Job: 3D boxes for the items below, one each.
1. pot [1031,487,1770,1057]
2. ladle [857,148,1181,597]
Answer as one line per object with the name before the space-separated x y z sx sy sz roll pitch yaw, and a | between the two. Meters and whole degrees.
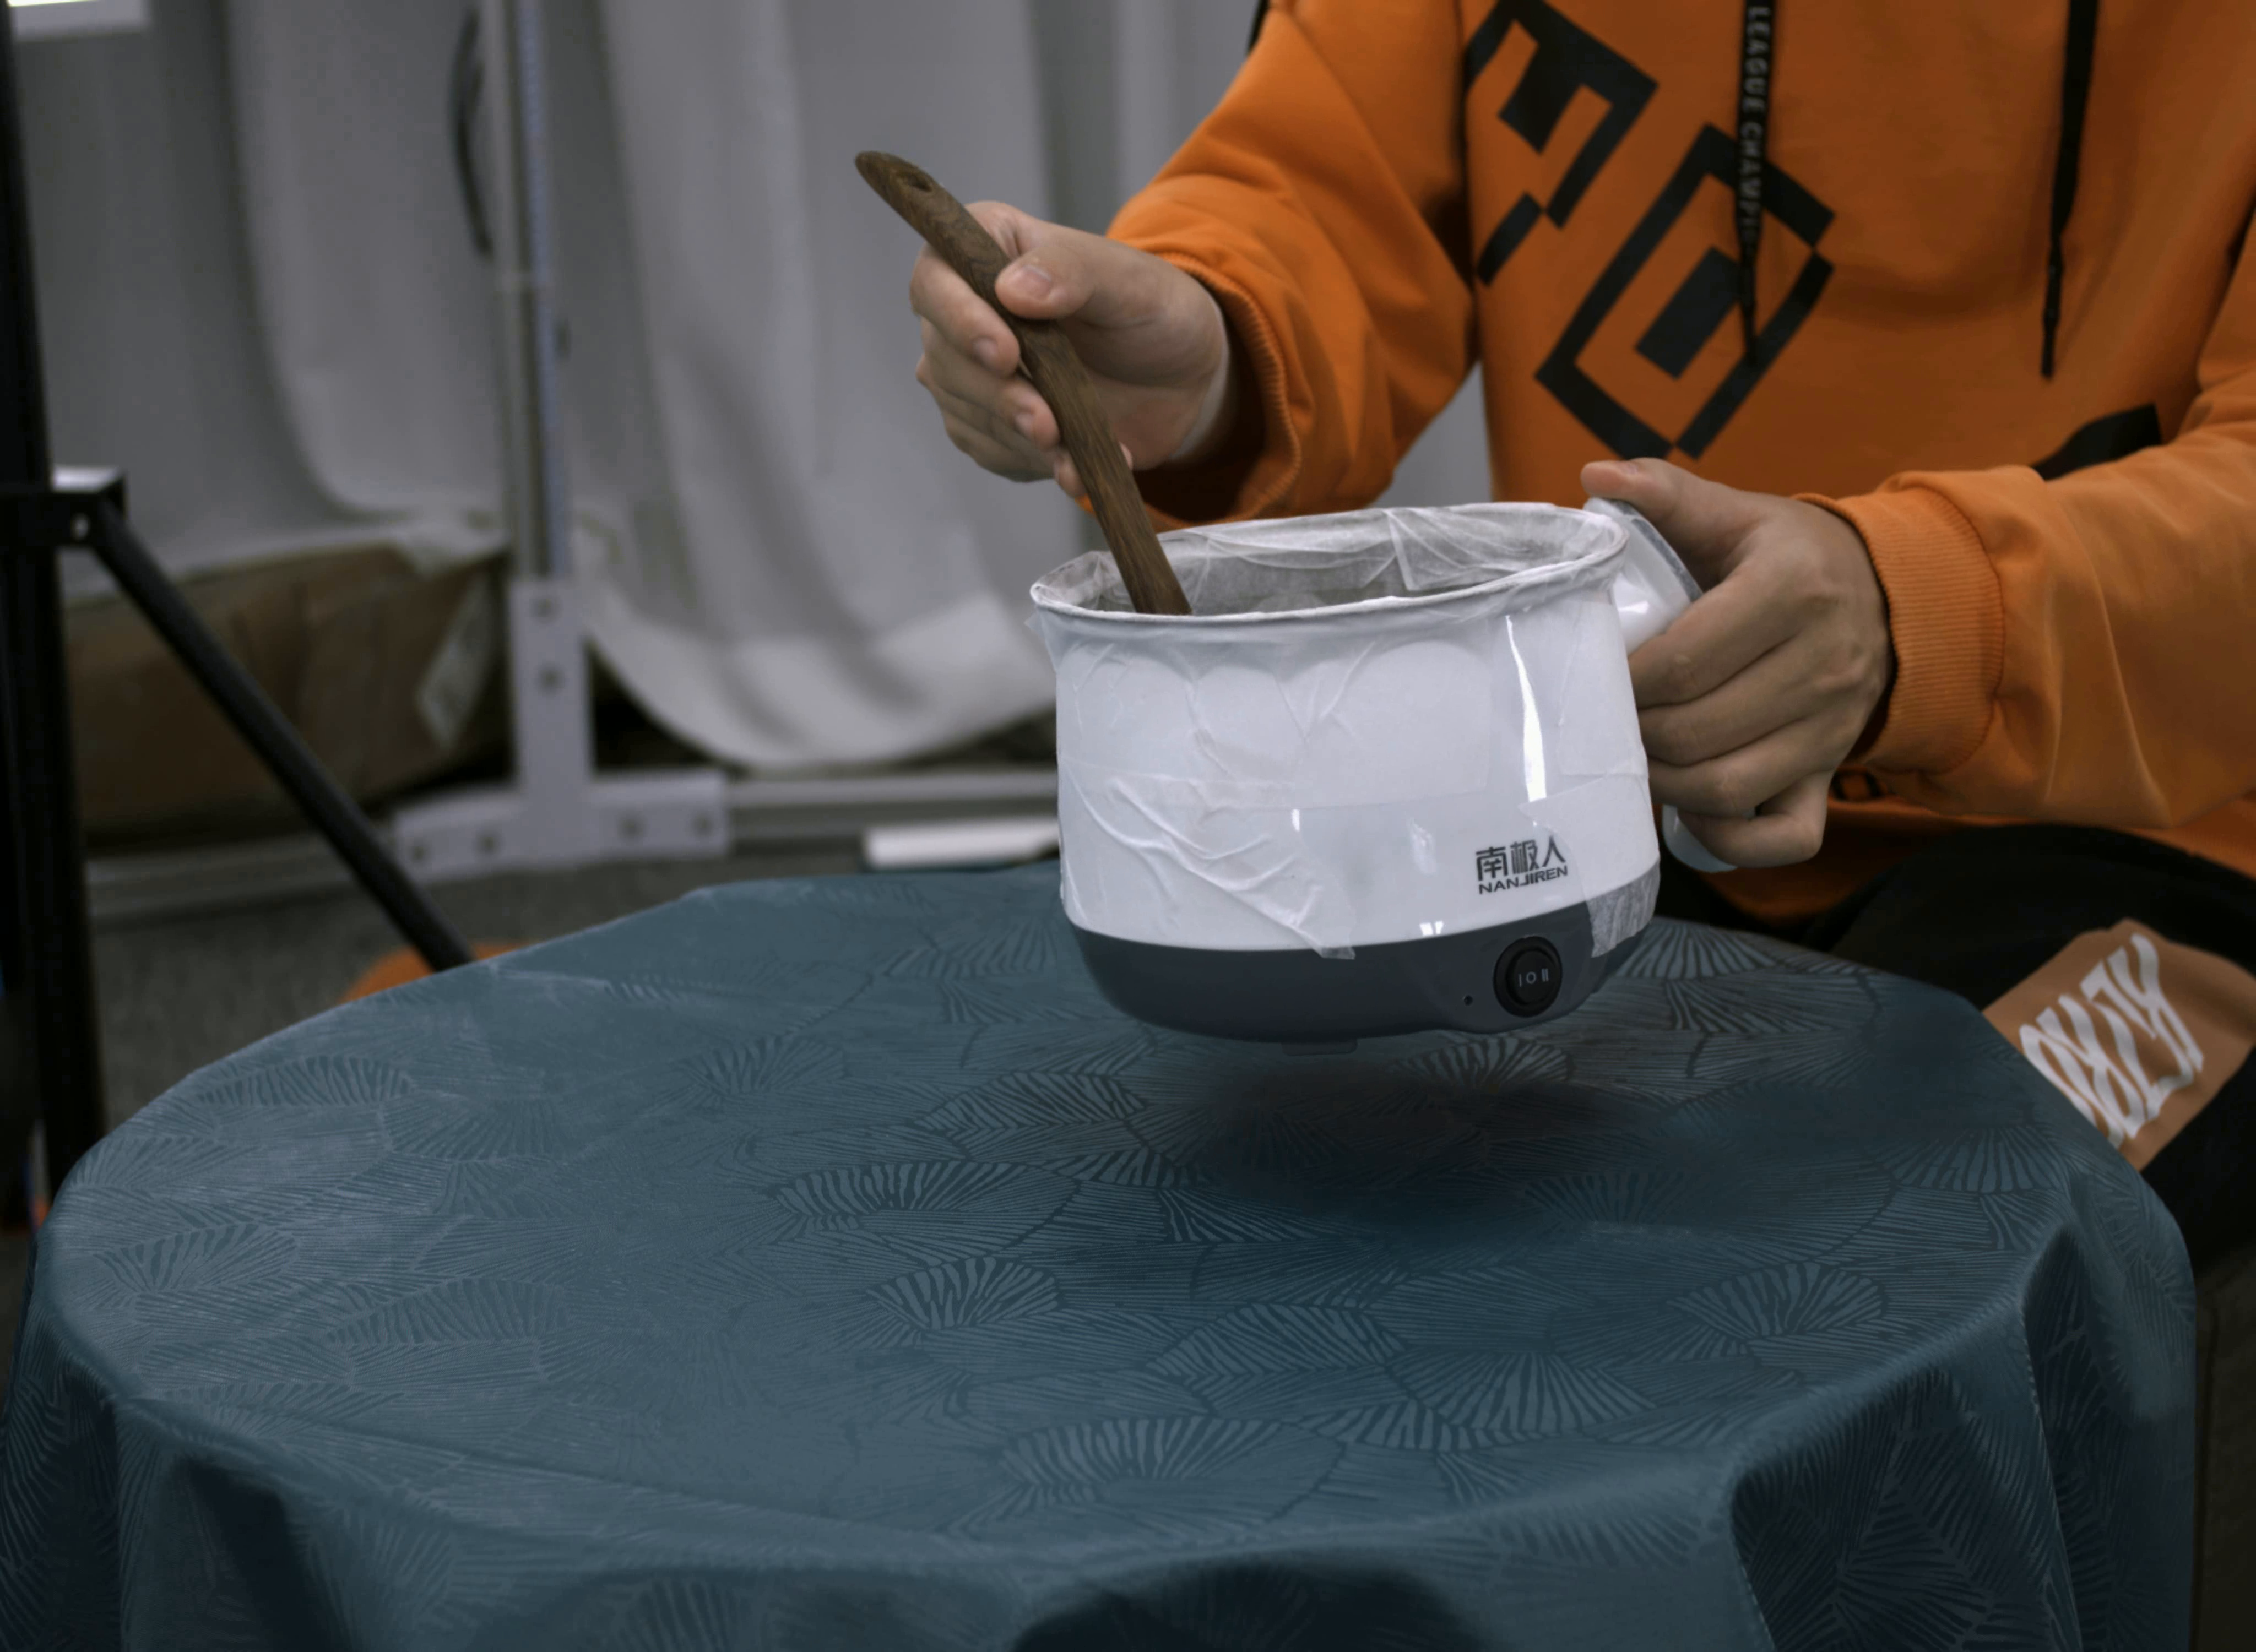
pot | 0.089 -0.021 1.580 0.228 0.136 0.182 -13 13 -29
ladle | 0.008 -0.111 1.589 0.072 0.278 0.074 -39 -22 25
